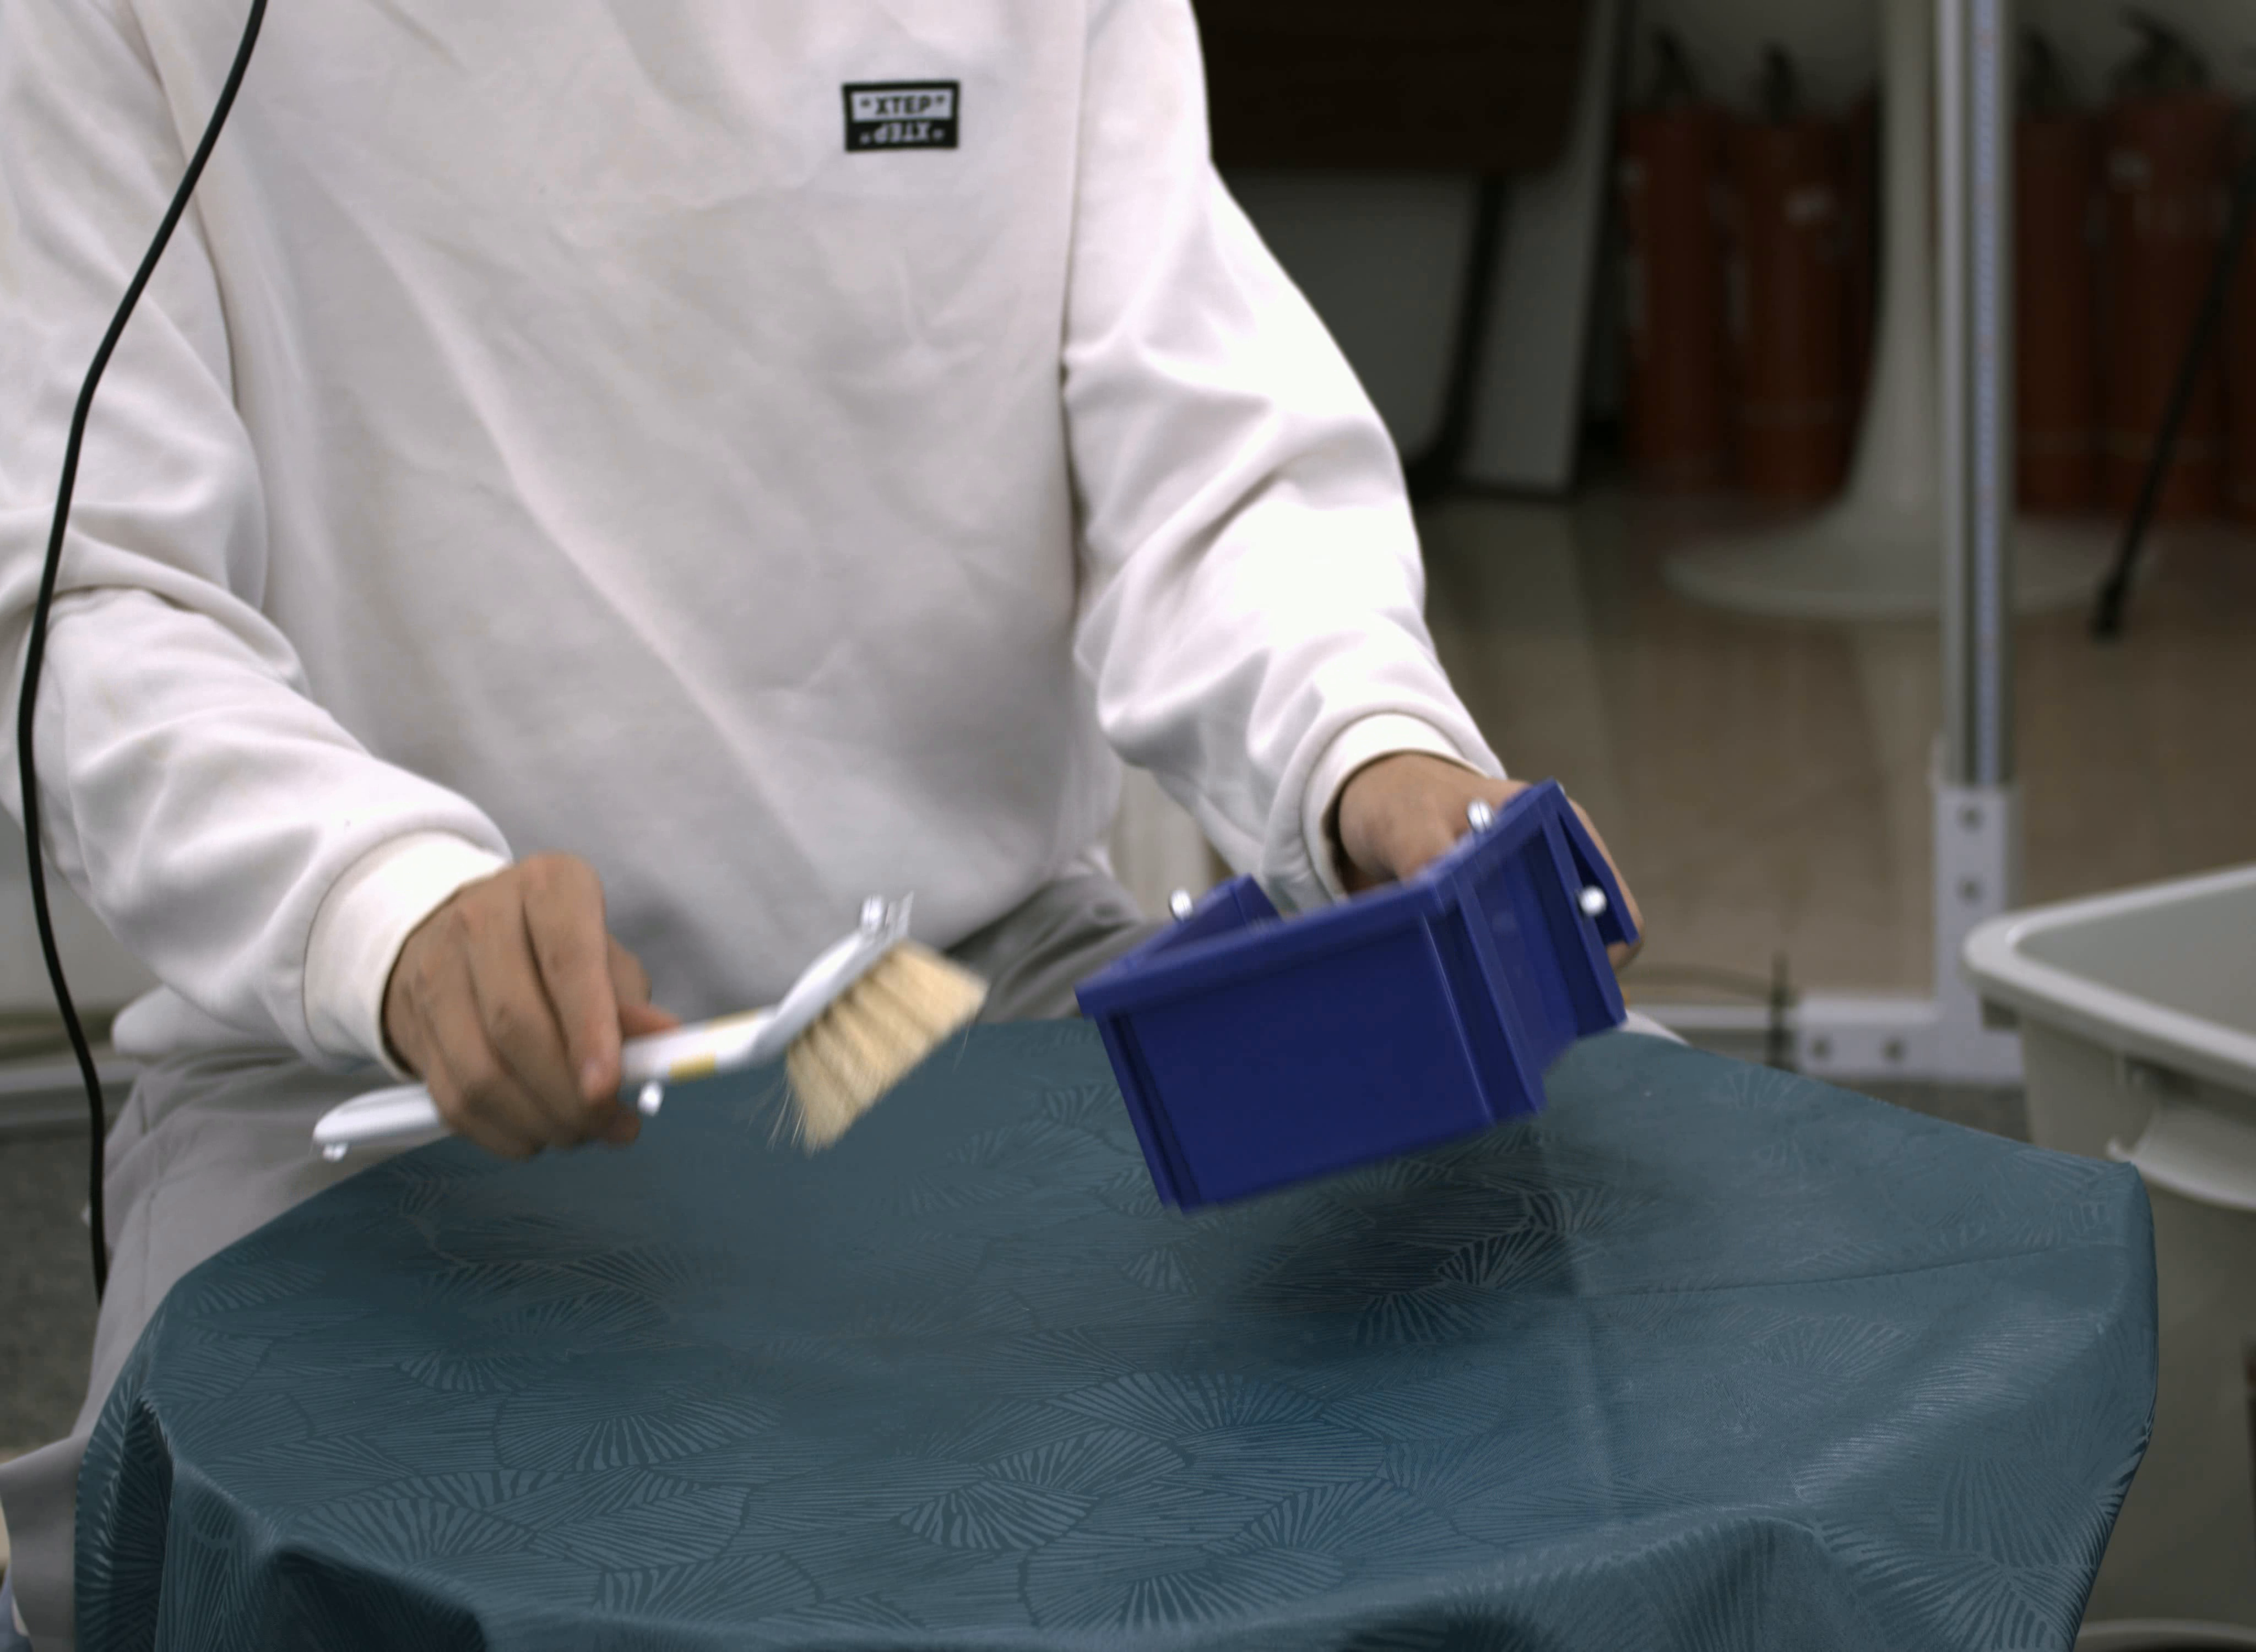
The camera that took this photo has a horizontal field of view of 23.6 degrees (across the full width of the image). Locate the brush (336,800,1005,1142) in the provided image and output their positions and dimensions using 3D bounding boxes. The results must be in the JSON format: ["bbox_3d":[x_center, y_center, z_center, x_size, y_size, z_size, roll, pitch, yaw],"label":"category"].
[{"bbox_3d":[-0.144,0.068,1.677,0.268,0.057,0.067,-29,-8,34],"label":"brush"}]

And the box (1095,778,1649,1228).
[{"bbox_3d":[0.080,0.053,1.681,0.124,0.082,0.178,-19,8,22],"label":"box"}]
